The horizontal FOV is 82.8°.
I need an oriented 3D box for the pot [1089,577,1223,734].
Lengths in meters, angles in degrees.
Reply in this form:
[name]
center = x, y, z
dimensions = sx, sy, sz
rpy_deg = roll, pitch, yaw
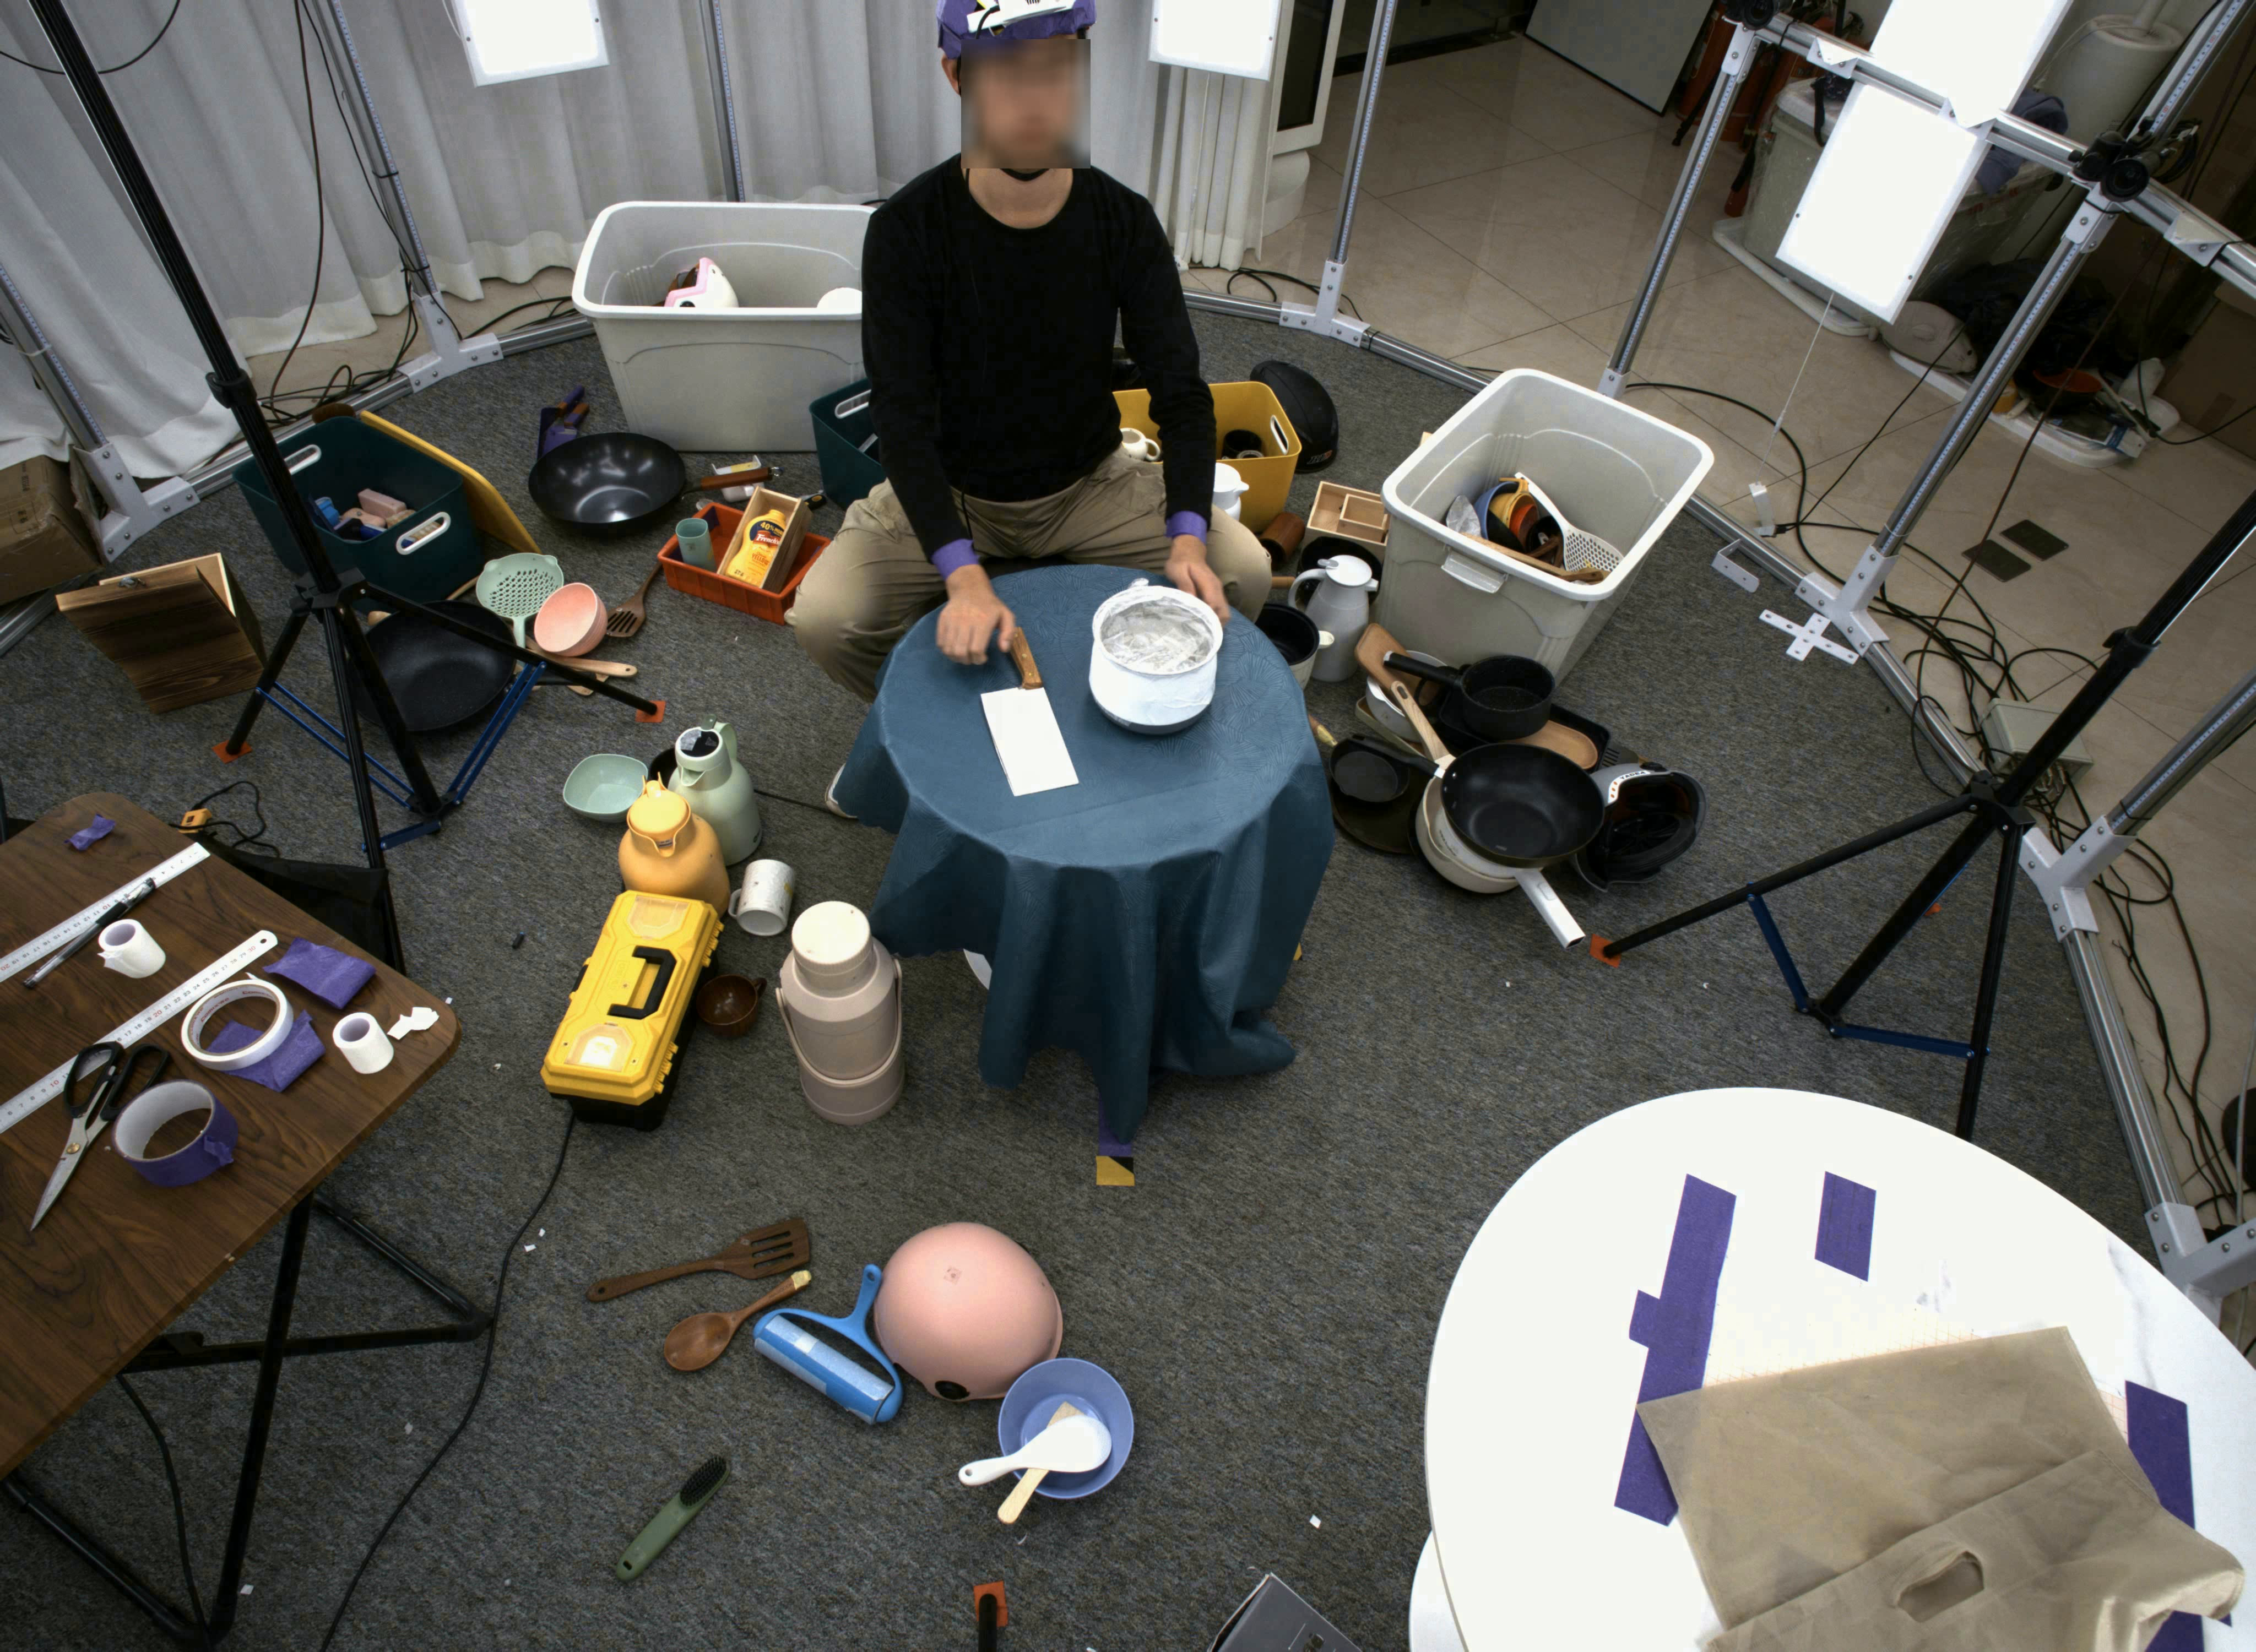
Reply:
[pot]
center = 0.030, -0.248, 1.795
dimensions = 0.178, 0.133, 0.239
rpy_deg = -8, 51, -11

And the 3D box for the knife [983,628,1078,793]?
[knife]
center = -0.151, -0.165, 1.795
dimensions = 0.093, 0.020, 0.313
rpy_deg = -10, 52, -14
